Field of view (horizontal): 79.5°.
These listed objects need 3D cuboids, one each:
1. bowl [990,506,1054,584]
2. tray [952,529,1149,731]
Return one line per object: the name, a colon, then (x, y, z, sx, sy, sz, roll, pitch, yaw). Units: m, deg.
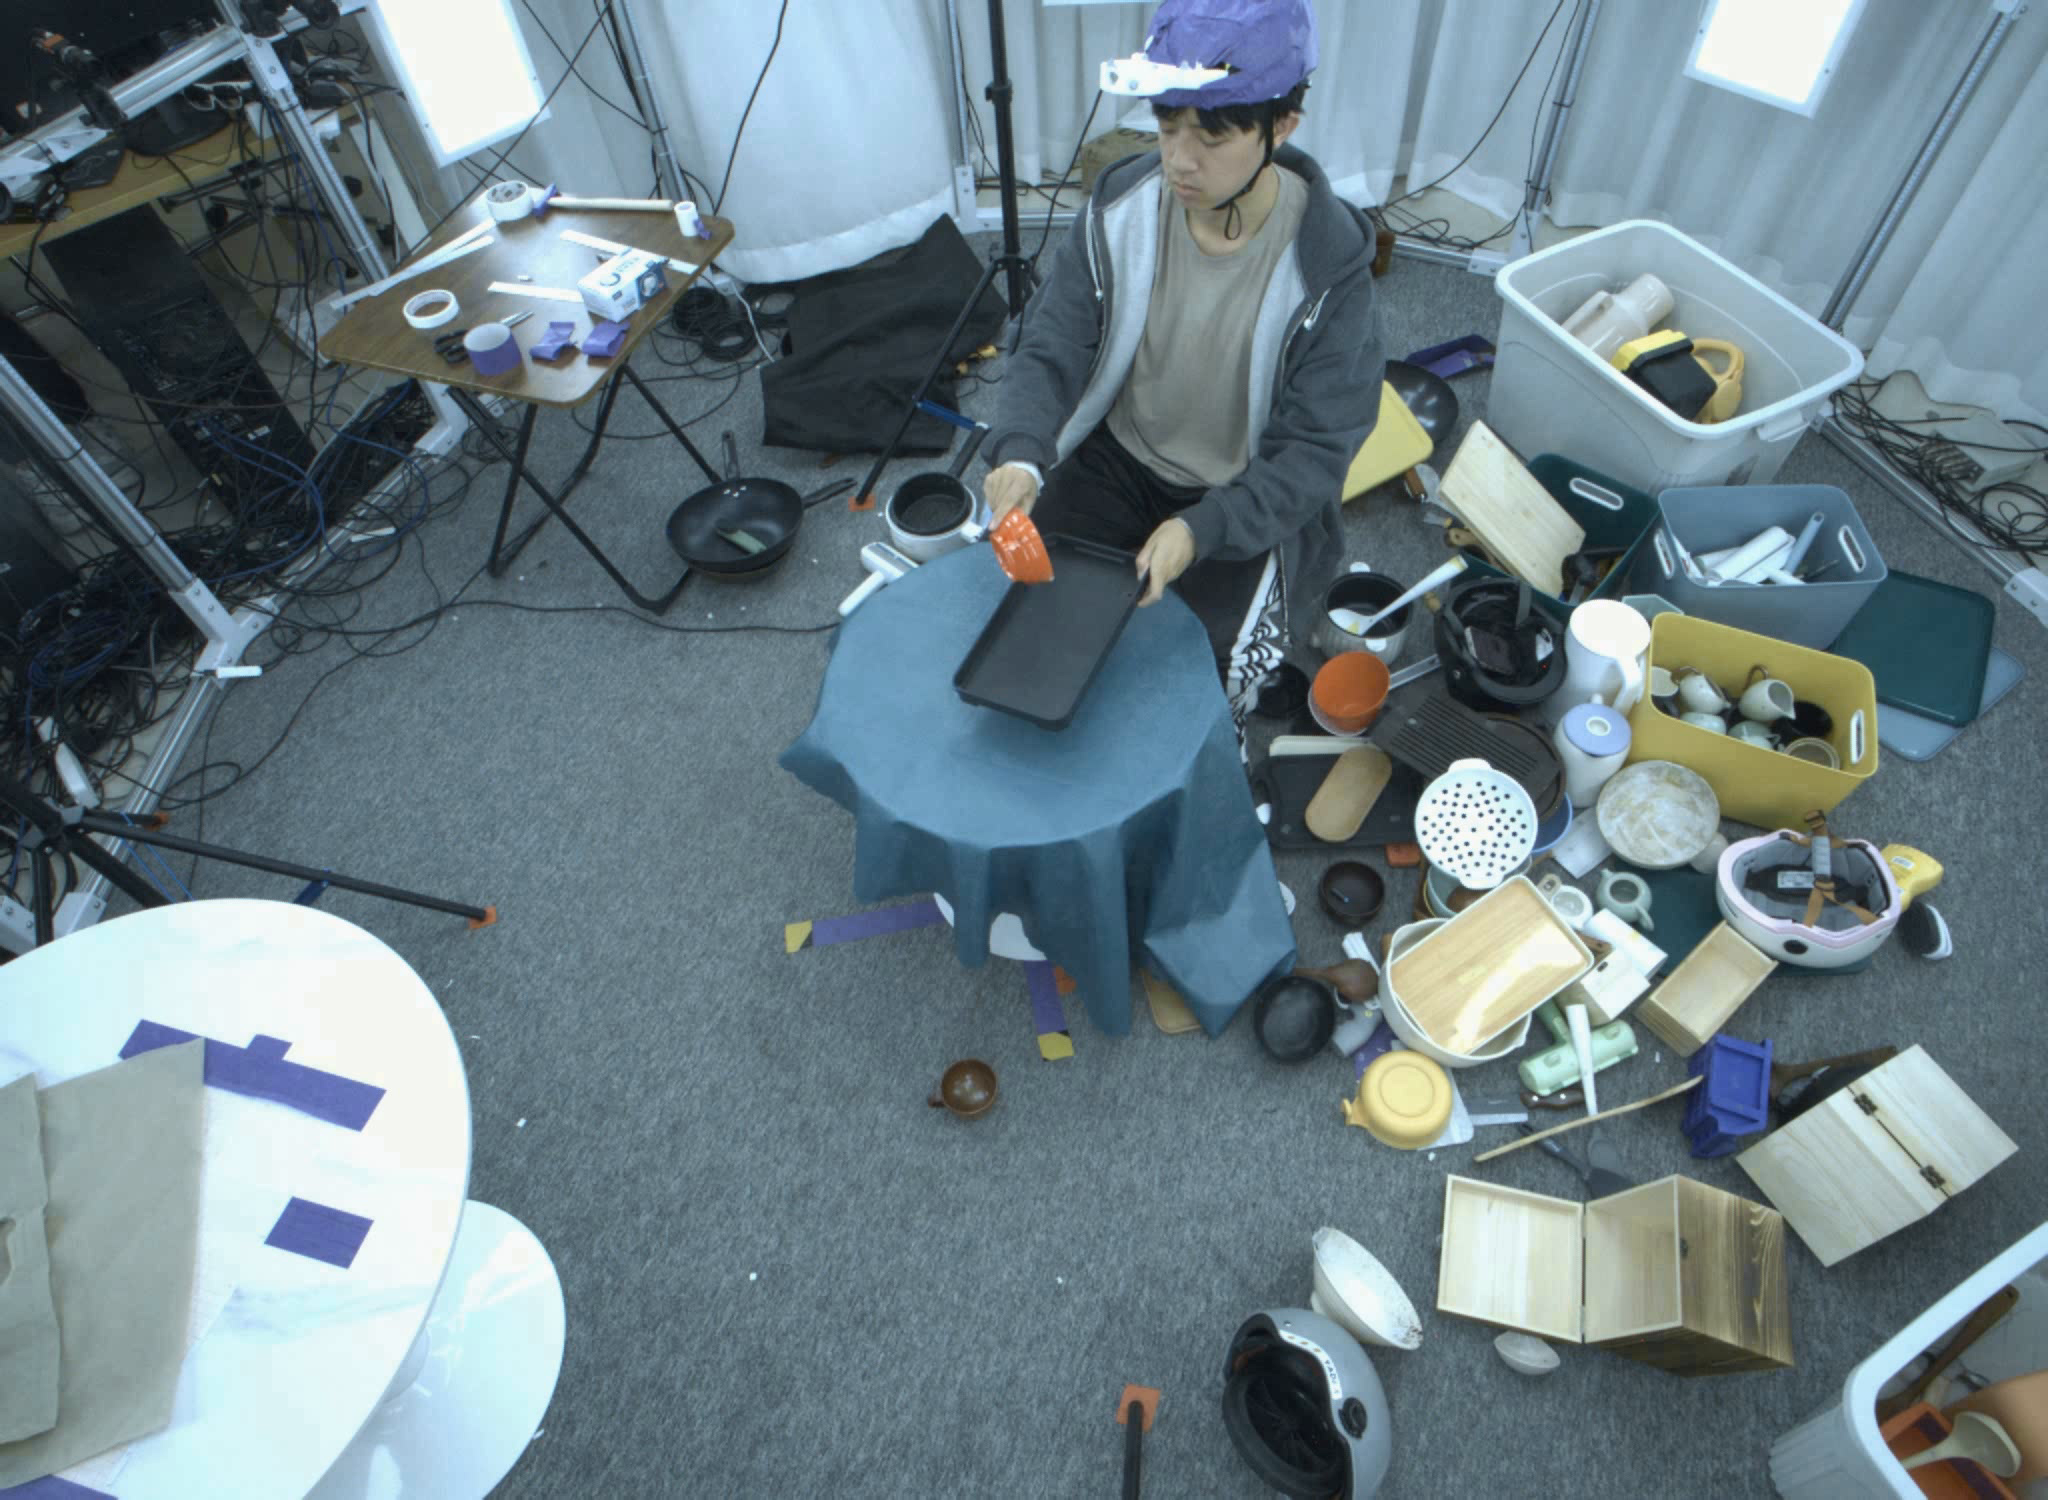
bowl: (-0.009, -0.278, 1.713, 0.051, 0.121, 0.117, -29, 58, -5)
tray: (0.043, -0.180, 1.787, 0.181, 0.037, 0.318, 20, 64, 19)
